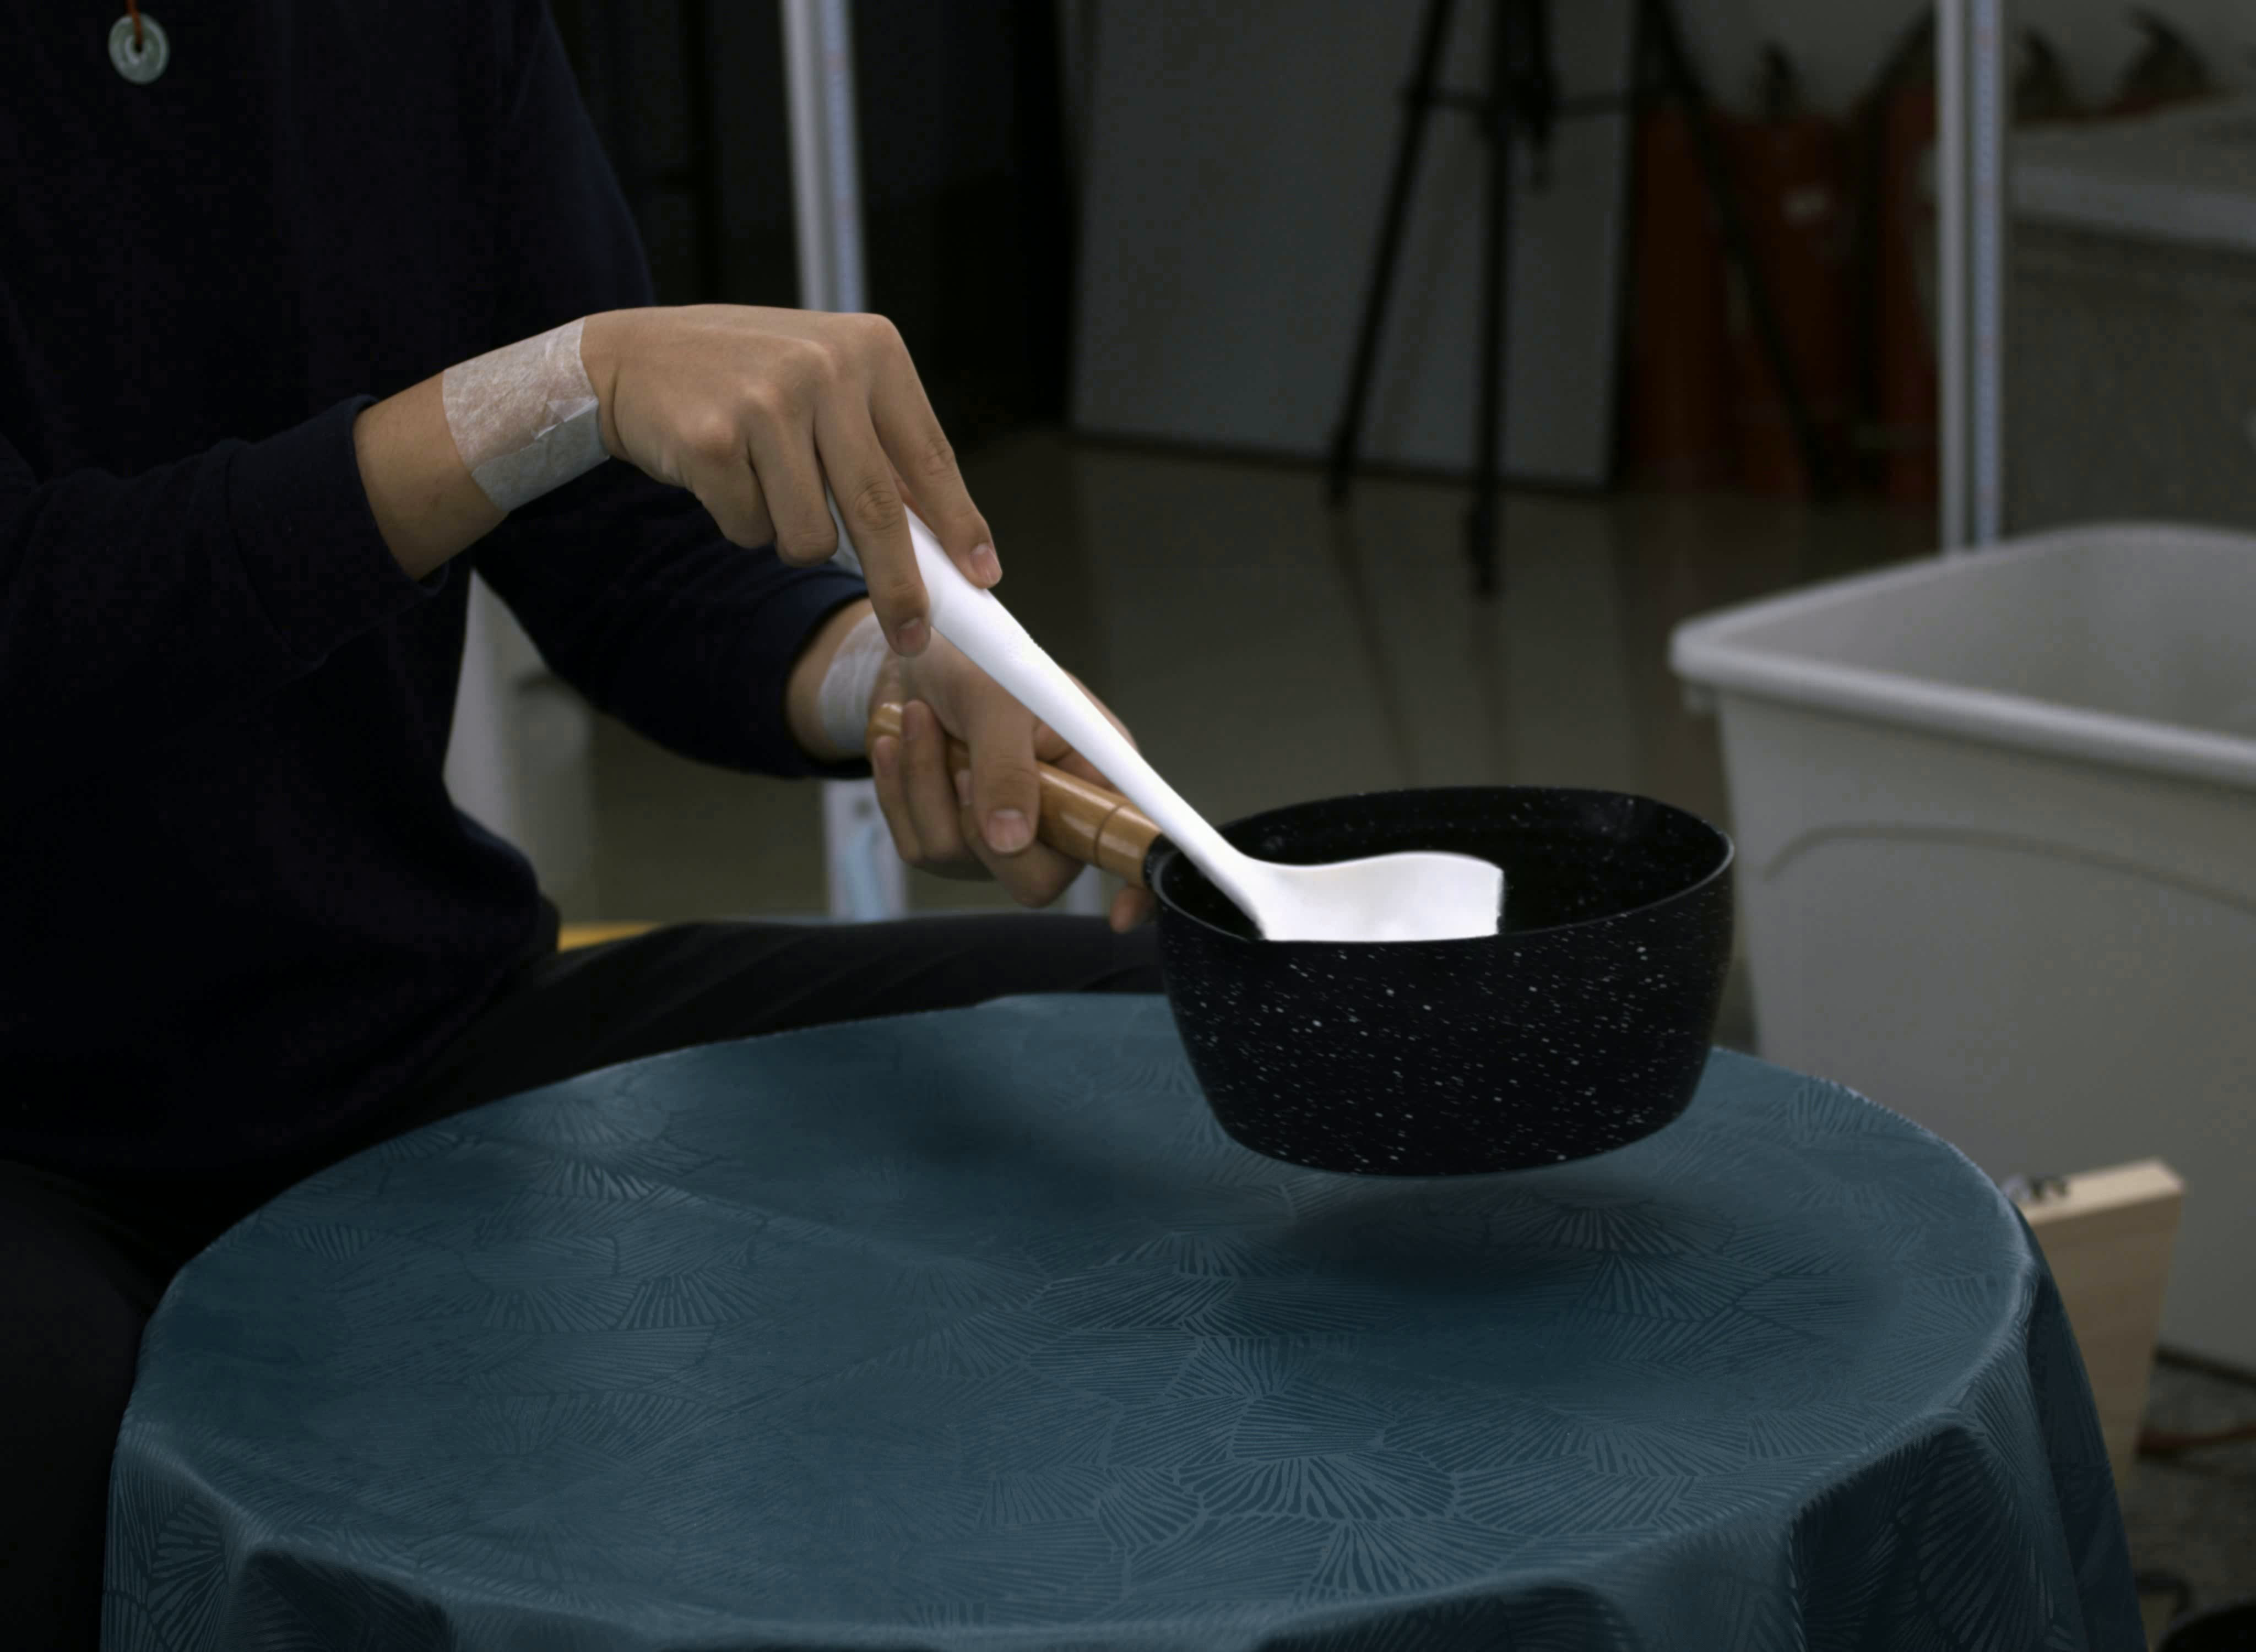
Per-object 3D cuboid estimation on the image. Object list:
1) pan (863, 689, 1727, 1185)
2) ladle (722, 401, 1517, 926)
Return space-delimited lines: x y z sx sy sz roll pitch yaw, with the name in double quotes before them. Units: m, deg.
"pan" 0.039 0.028 1.748 0.346 0.109 0.203 10 21 42
"ladle" -0.007 -0.039 1.712 0.293 0.070 0.089 43 47 8
